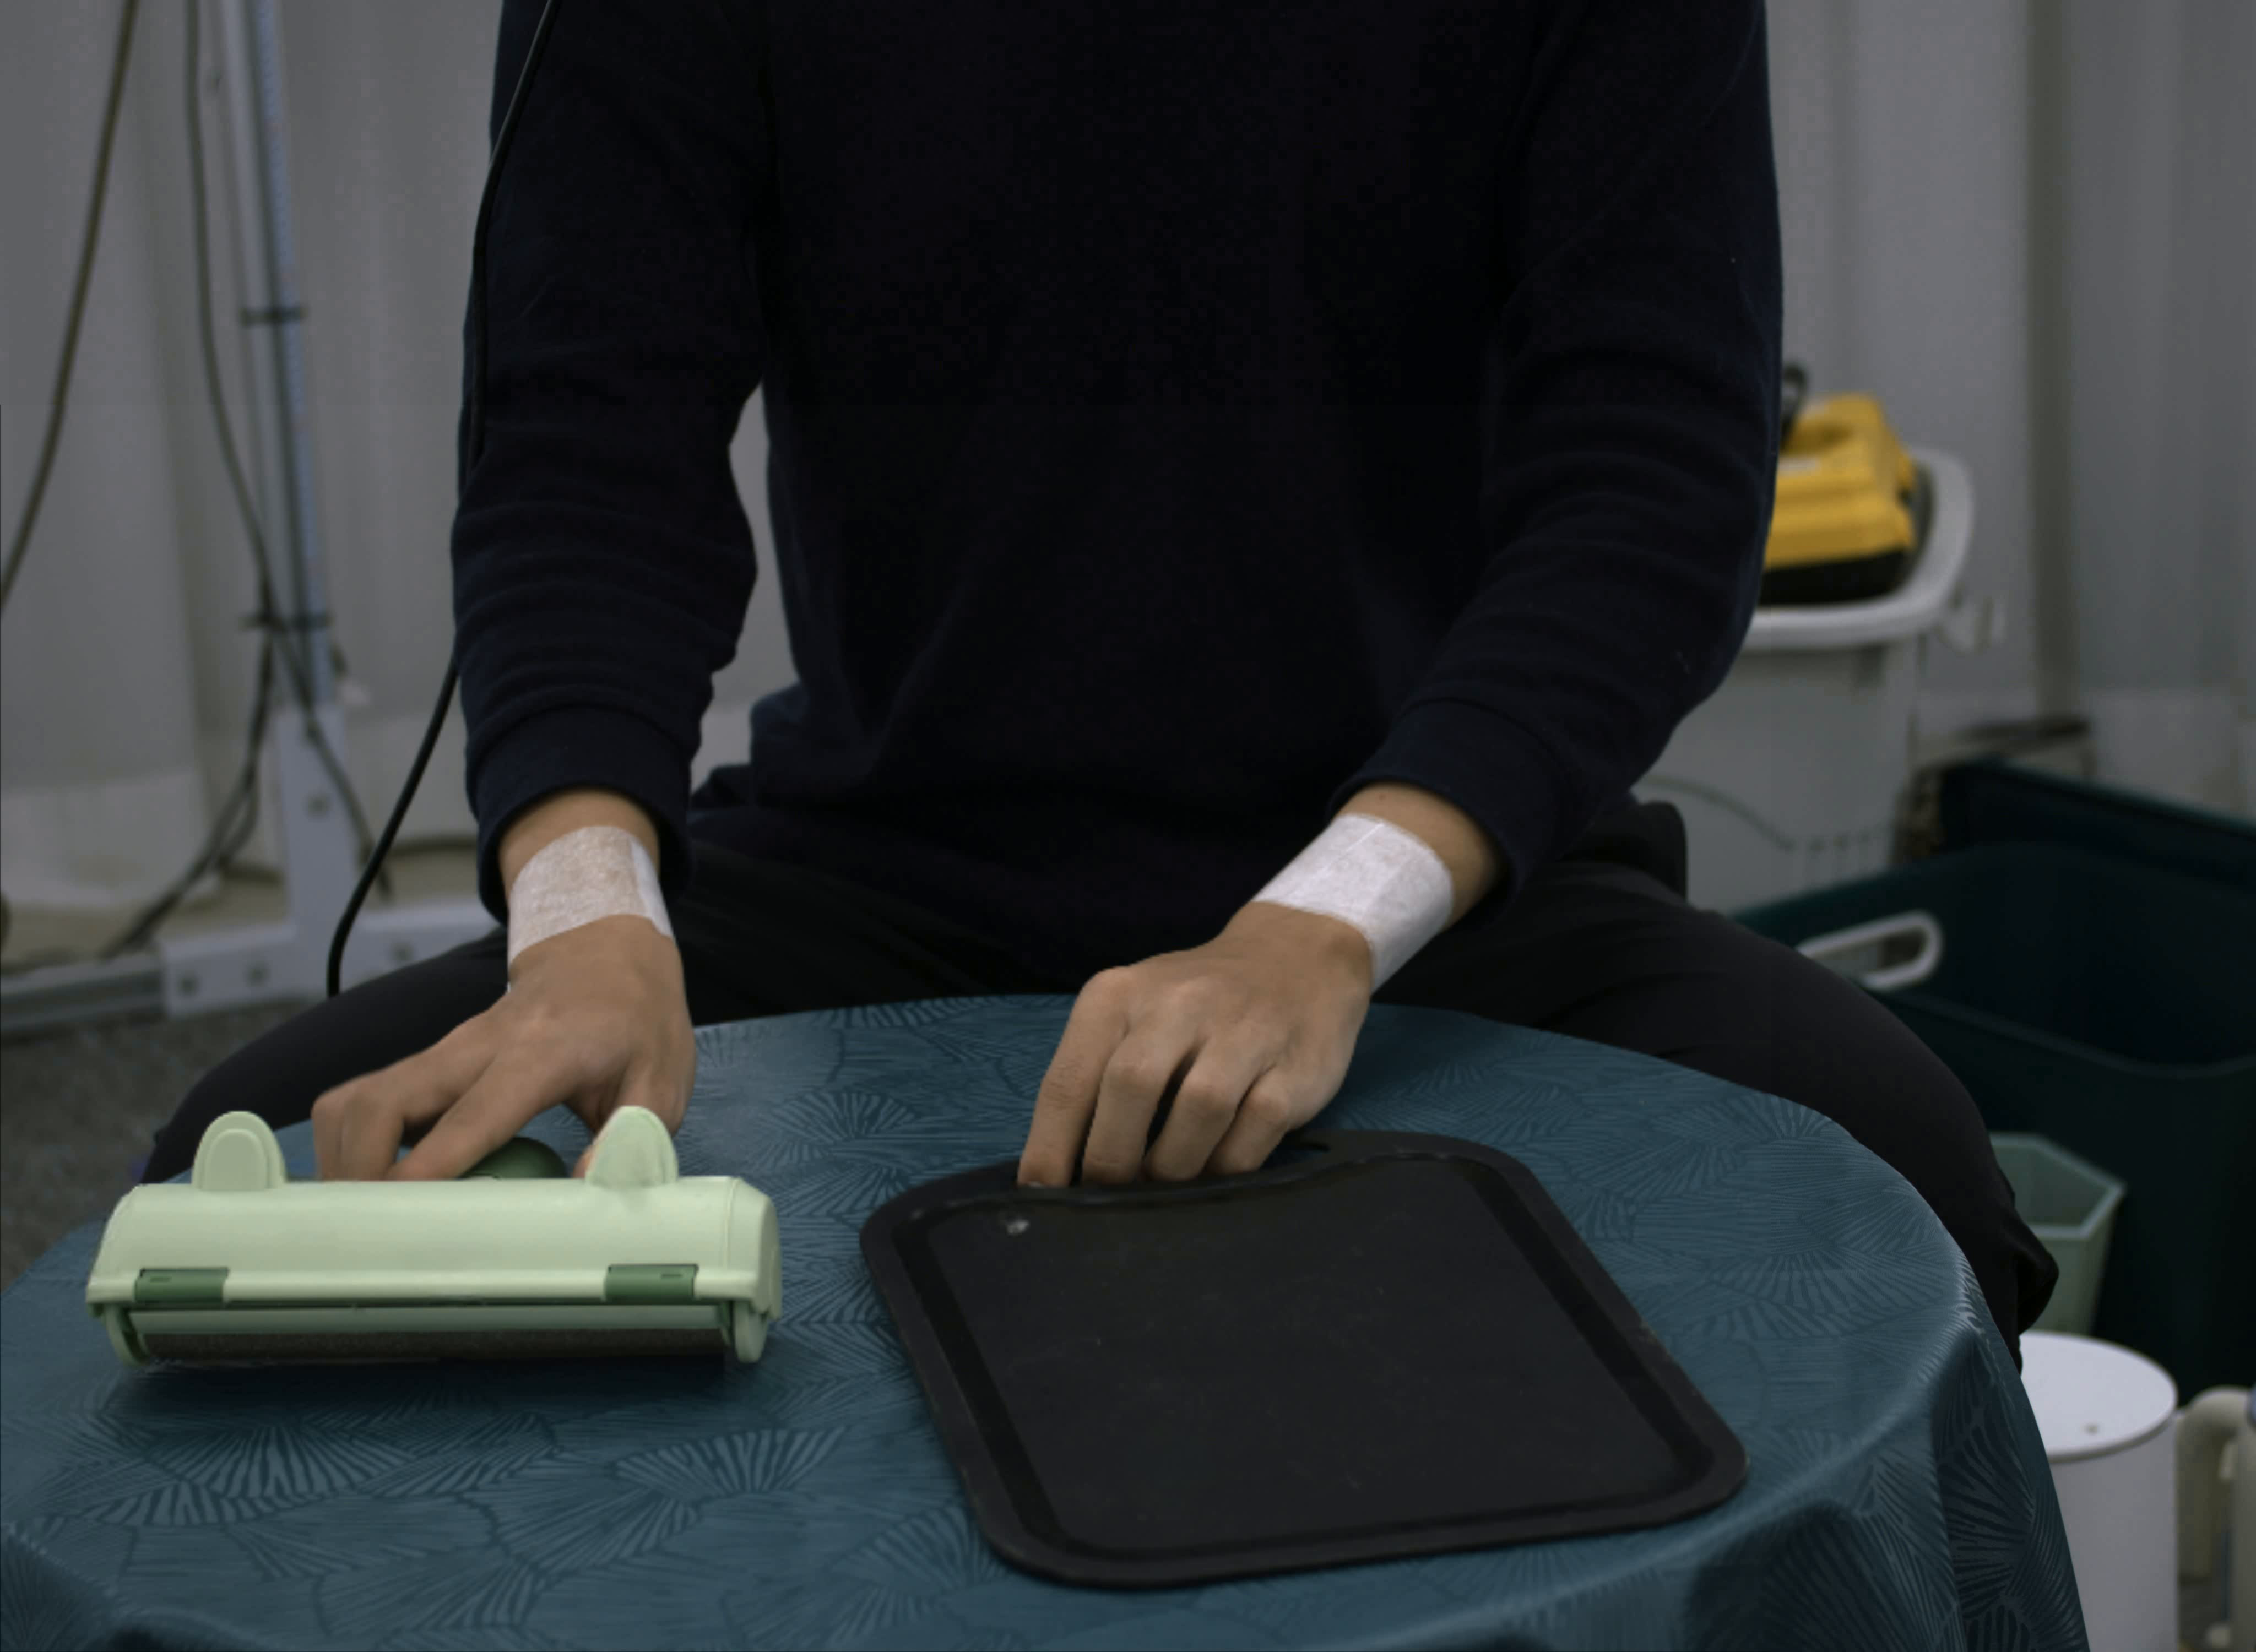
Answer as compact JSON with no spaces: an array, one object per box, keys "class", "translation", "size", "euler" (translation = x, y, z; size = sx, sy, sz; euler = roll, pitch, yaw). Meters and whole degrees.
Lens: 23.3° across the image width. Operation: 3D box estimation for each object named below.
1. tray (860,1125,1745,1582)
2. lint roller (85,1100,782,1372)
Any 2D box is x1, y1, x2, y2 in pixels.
[{"class":"tray","translation":[0.040,0.142,1.568],"size":[0.210,0.010,0.328],"euler":[-5,17,-10]},{"class":"lint roller","translation":[-0.197,0.102,1.636],"size":[0.198,0.081,0.185],"euler":[-1,21,4]}]
